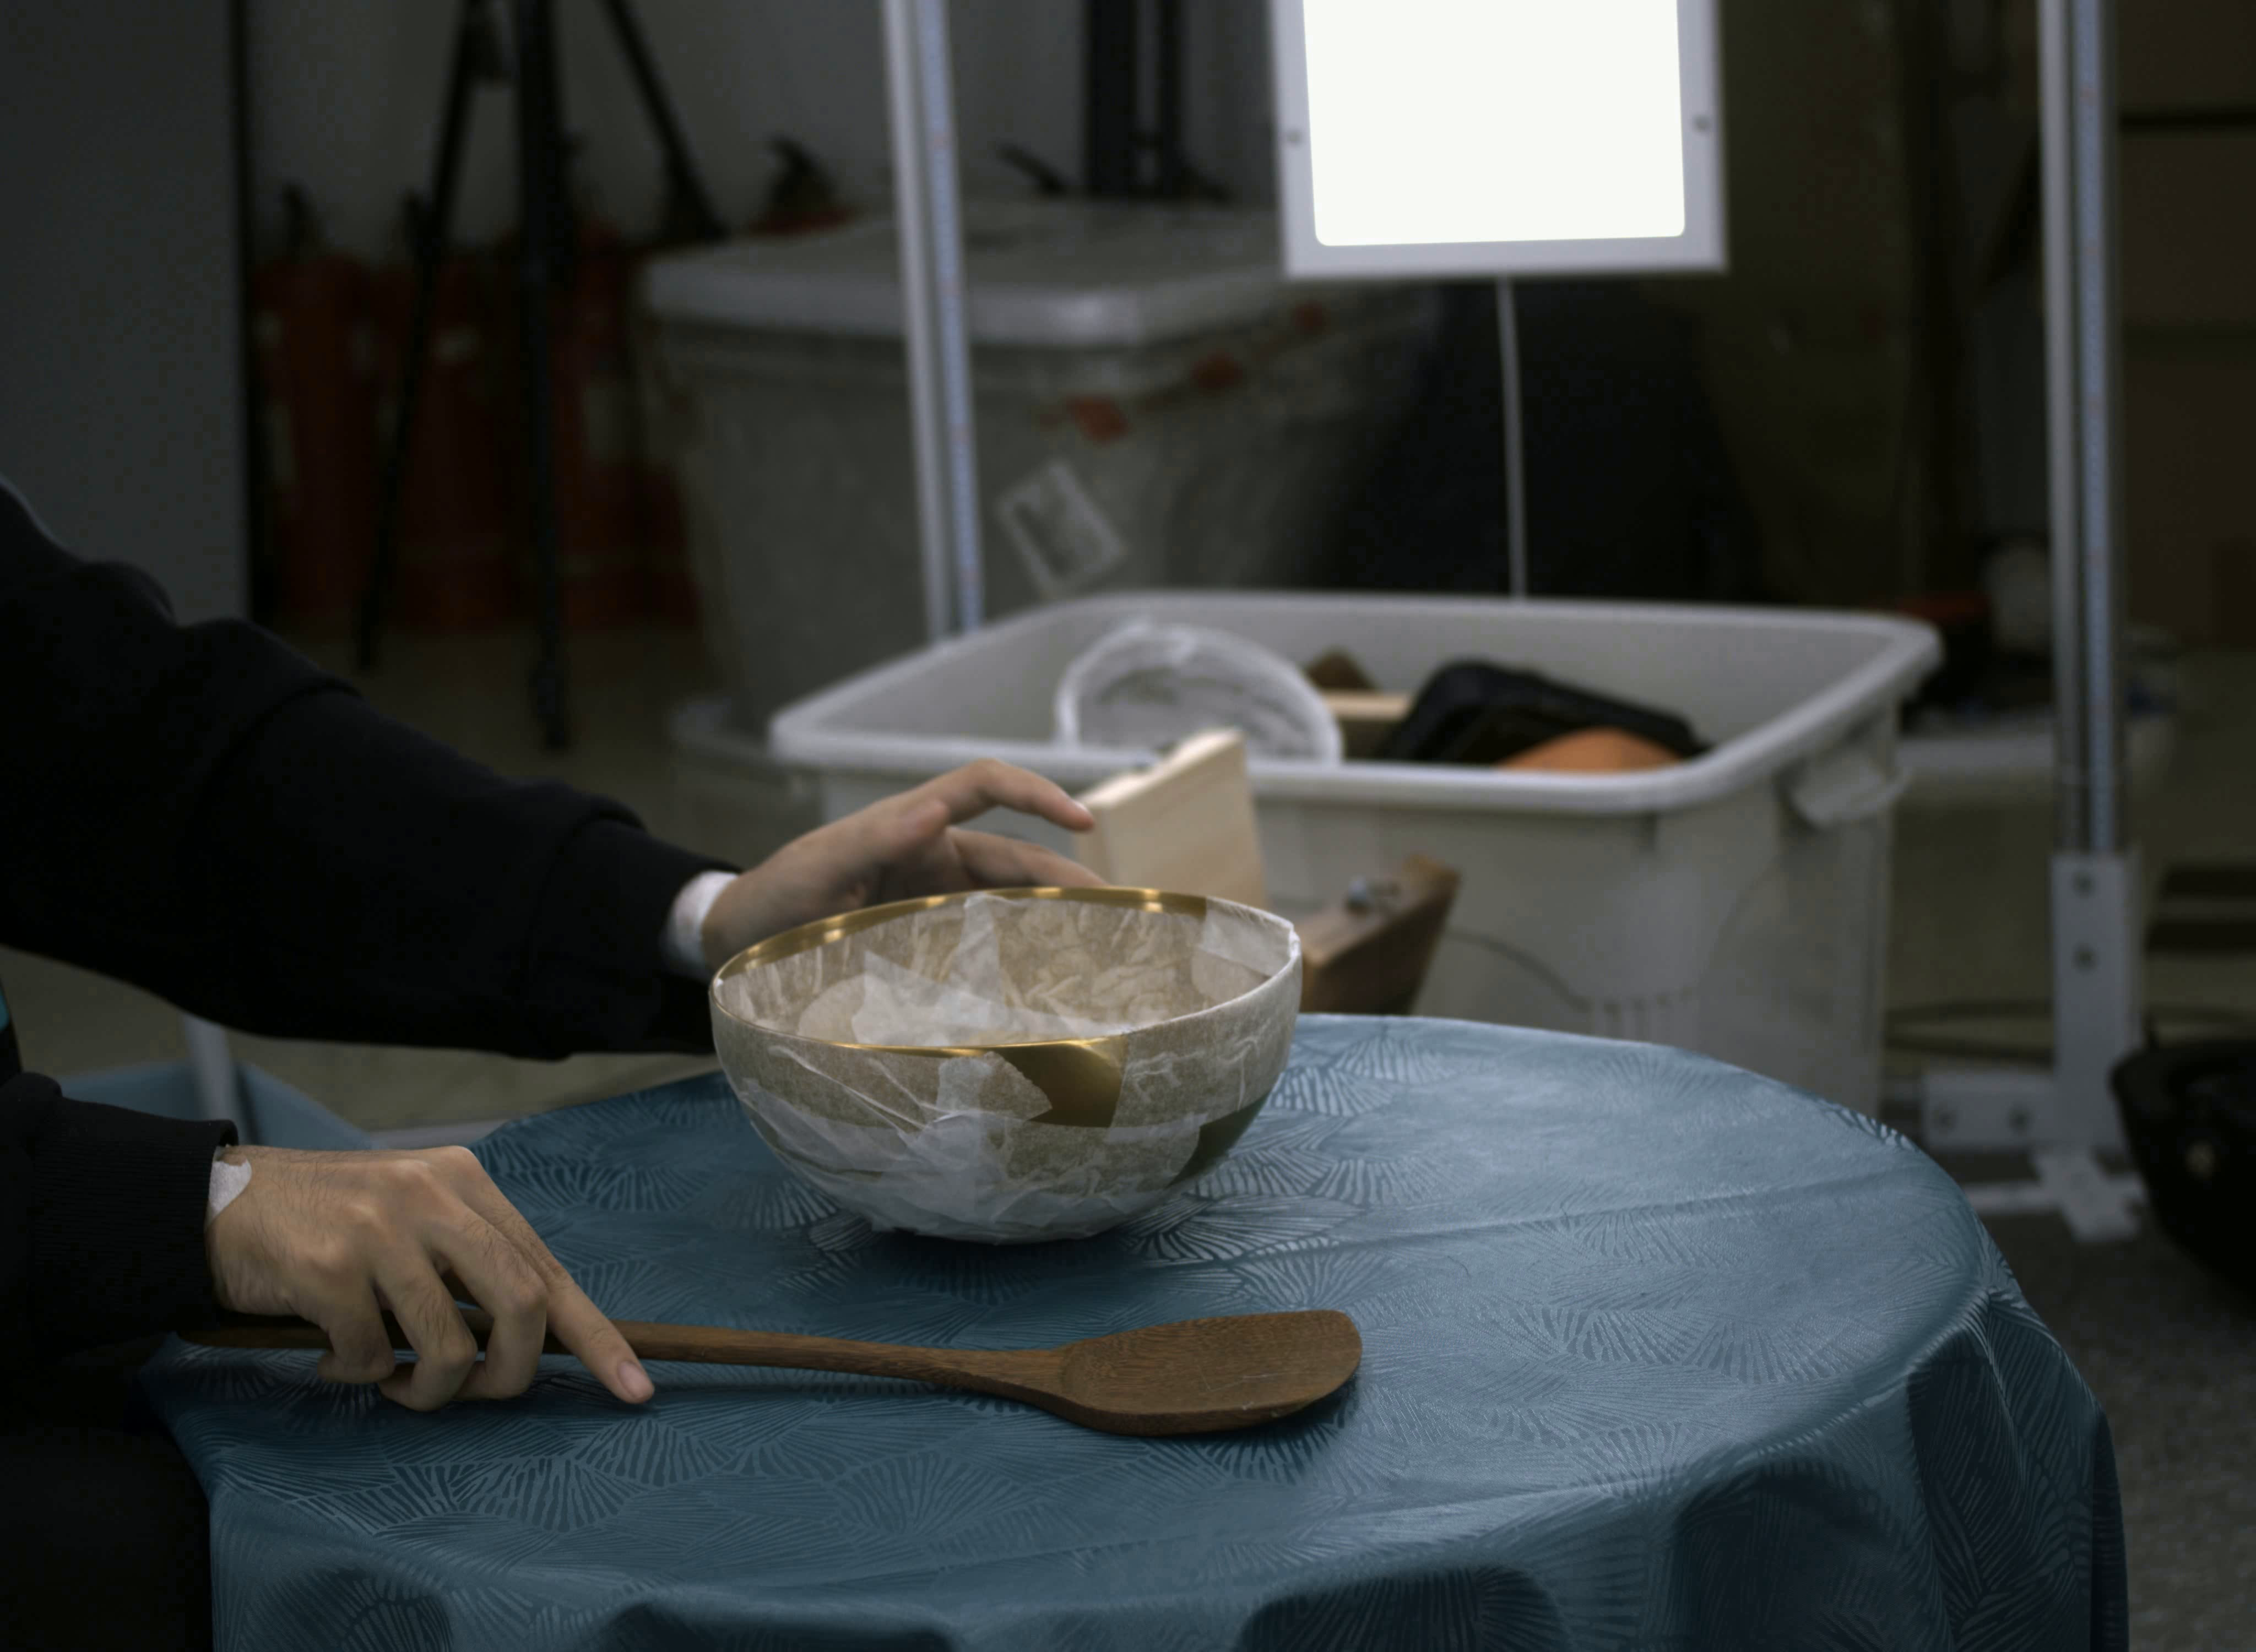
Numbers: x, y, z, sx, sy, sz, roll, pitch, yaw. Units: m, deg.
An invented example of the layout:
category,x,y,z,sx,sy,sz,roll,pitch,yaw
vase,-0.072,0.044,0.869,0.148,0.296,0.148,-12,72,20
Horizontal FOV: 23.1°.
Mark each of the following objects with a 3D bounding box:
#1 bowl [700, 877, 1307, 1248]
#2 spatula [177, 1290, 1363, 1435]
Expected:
category,x,y,z,sx,sy,sz,roll,pitch,yaw
bowl,-0.039,0.088,1.874,0.214,0.095,0.214,-6,15,0
spatula,-0.117,0.163,1.731,0.389,0.016,0.095,2,14,14
